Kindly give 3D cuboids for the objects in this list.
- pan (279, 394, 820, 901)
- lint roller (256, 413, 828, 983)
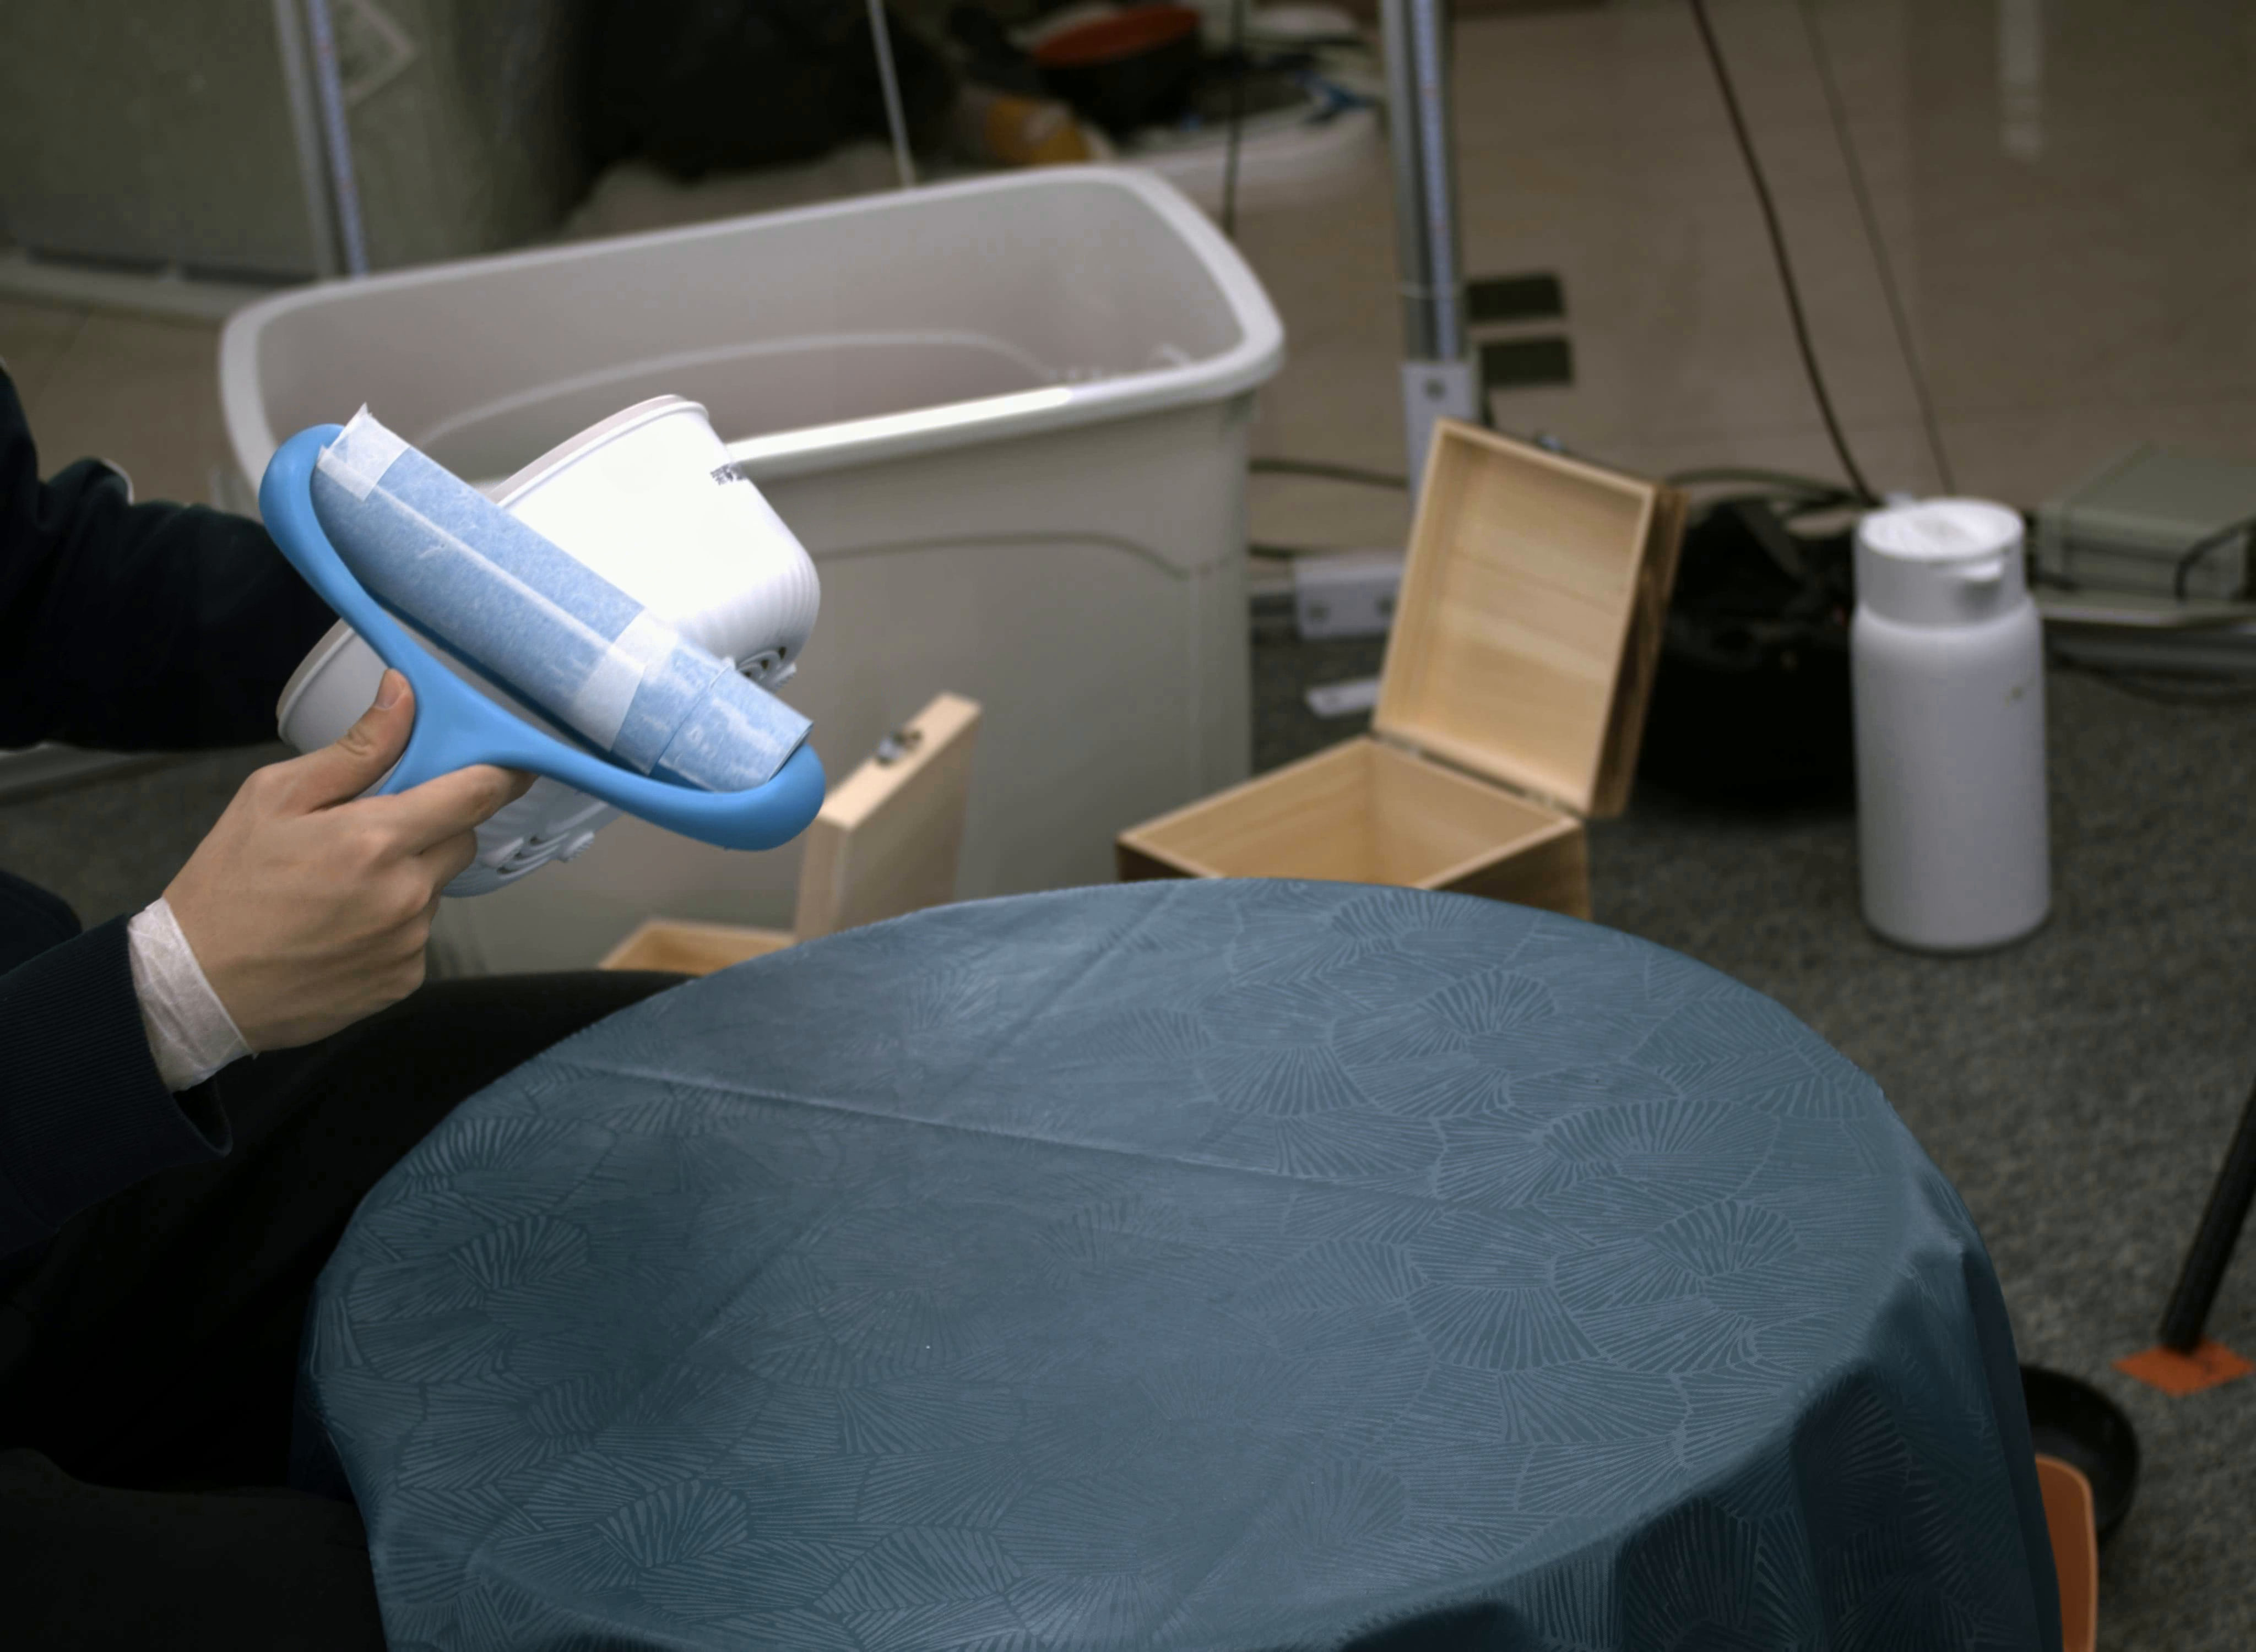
[{"bbox_3d":[-0.196,-0.061,2.187,0.202,0.102,0.354,-40,-6,8],"label":"pan"},{"bbox_3d":[-0.232,-0.026,1.964,0.229,0.068,0.178,32,67,-3],"label":"lint roller"}]
